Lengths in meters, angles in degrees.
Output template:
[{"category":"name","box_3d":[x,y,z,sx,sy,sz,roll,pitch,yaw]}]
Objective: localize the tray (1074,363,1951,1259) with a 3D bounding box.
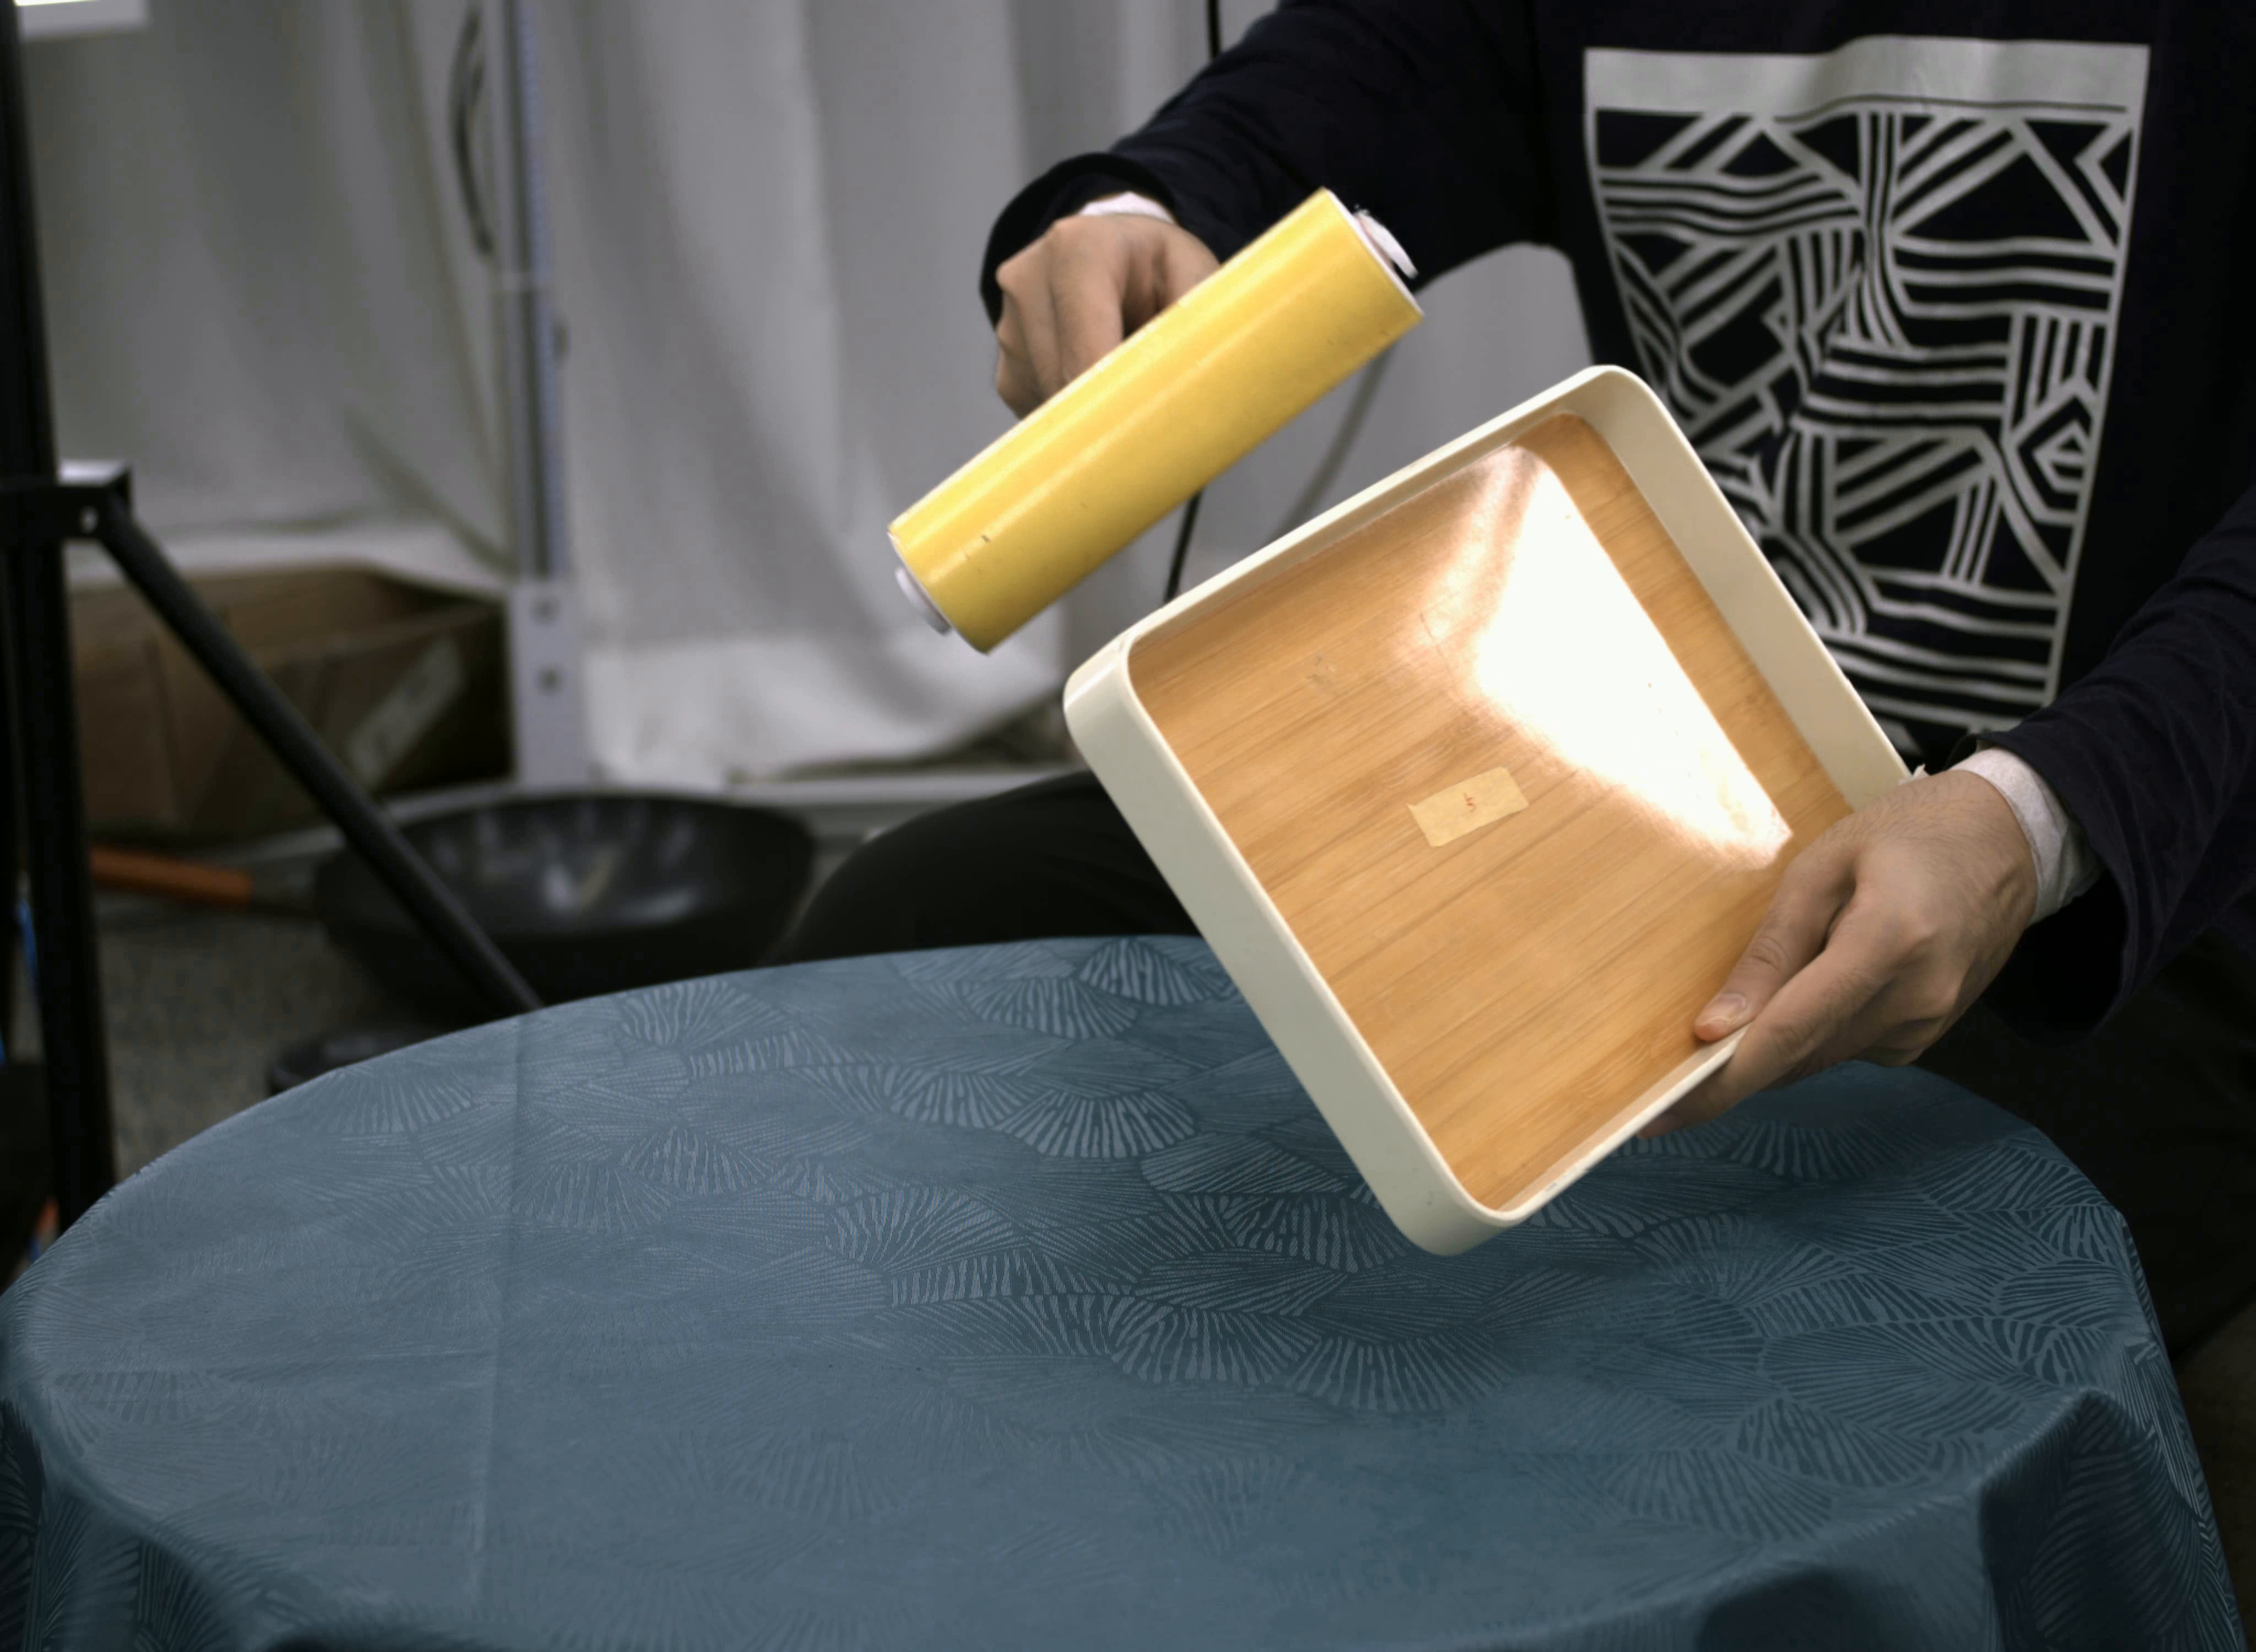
[{"category":"tray","box_3d":[0.117,-0.011,1.508,0.028,0.192,0.295,-36,-4,39]}]

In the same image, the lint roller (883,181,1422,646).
[{"category":"lint roller","box_3d":[-0.003,-0.140,1.603,0.174,0.051,0.194,-38,20,6]}]
